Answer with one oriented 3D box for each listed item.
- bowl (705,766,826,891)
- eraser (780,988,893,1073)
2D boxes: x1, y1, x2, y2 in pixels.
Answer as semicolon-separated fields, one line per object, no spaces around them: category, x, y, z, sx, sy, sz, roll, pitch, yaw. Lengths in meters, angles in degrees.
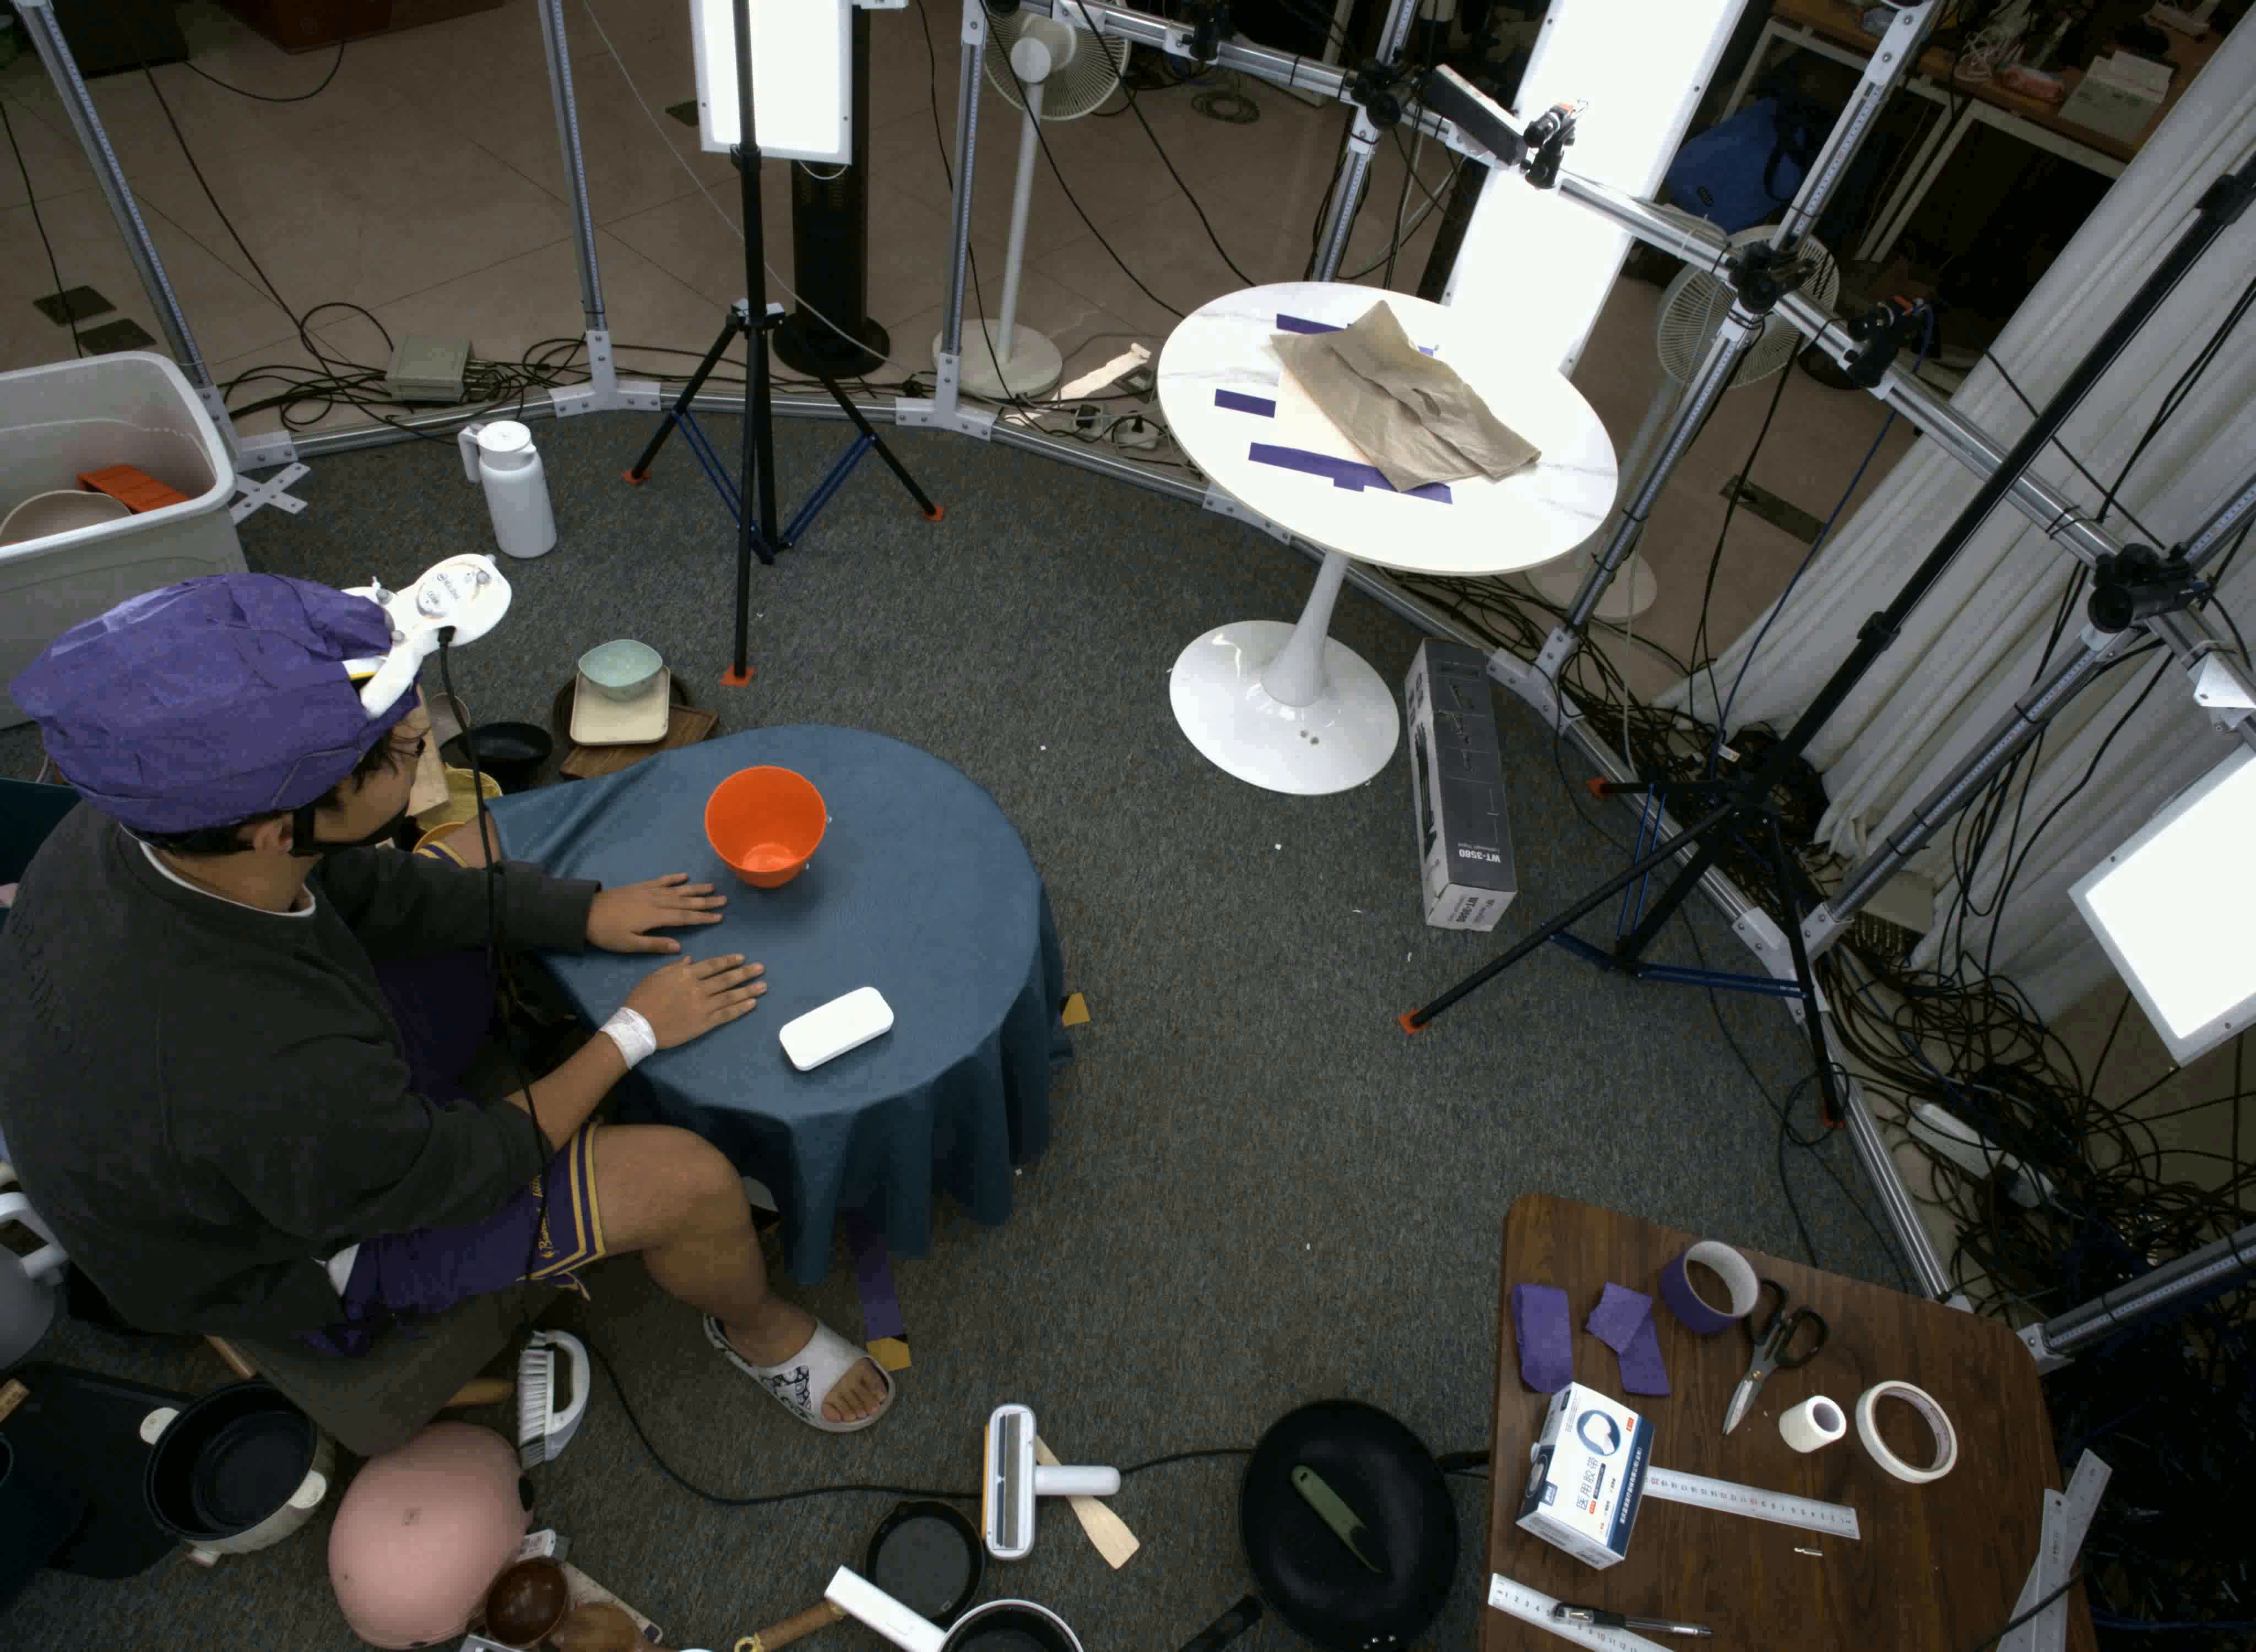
bowl;-0.458;0.014;1.646;0.148;0.107;0.145;7;53;-8
eraser;-0.348;0.239;1.549;0.132;0.035;0.062;-23;61;-29
